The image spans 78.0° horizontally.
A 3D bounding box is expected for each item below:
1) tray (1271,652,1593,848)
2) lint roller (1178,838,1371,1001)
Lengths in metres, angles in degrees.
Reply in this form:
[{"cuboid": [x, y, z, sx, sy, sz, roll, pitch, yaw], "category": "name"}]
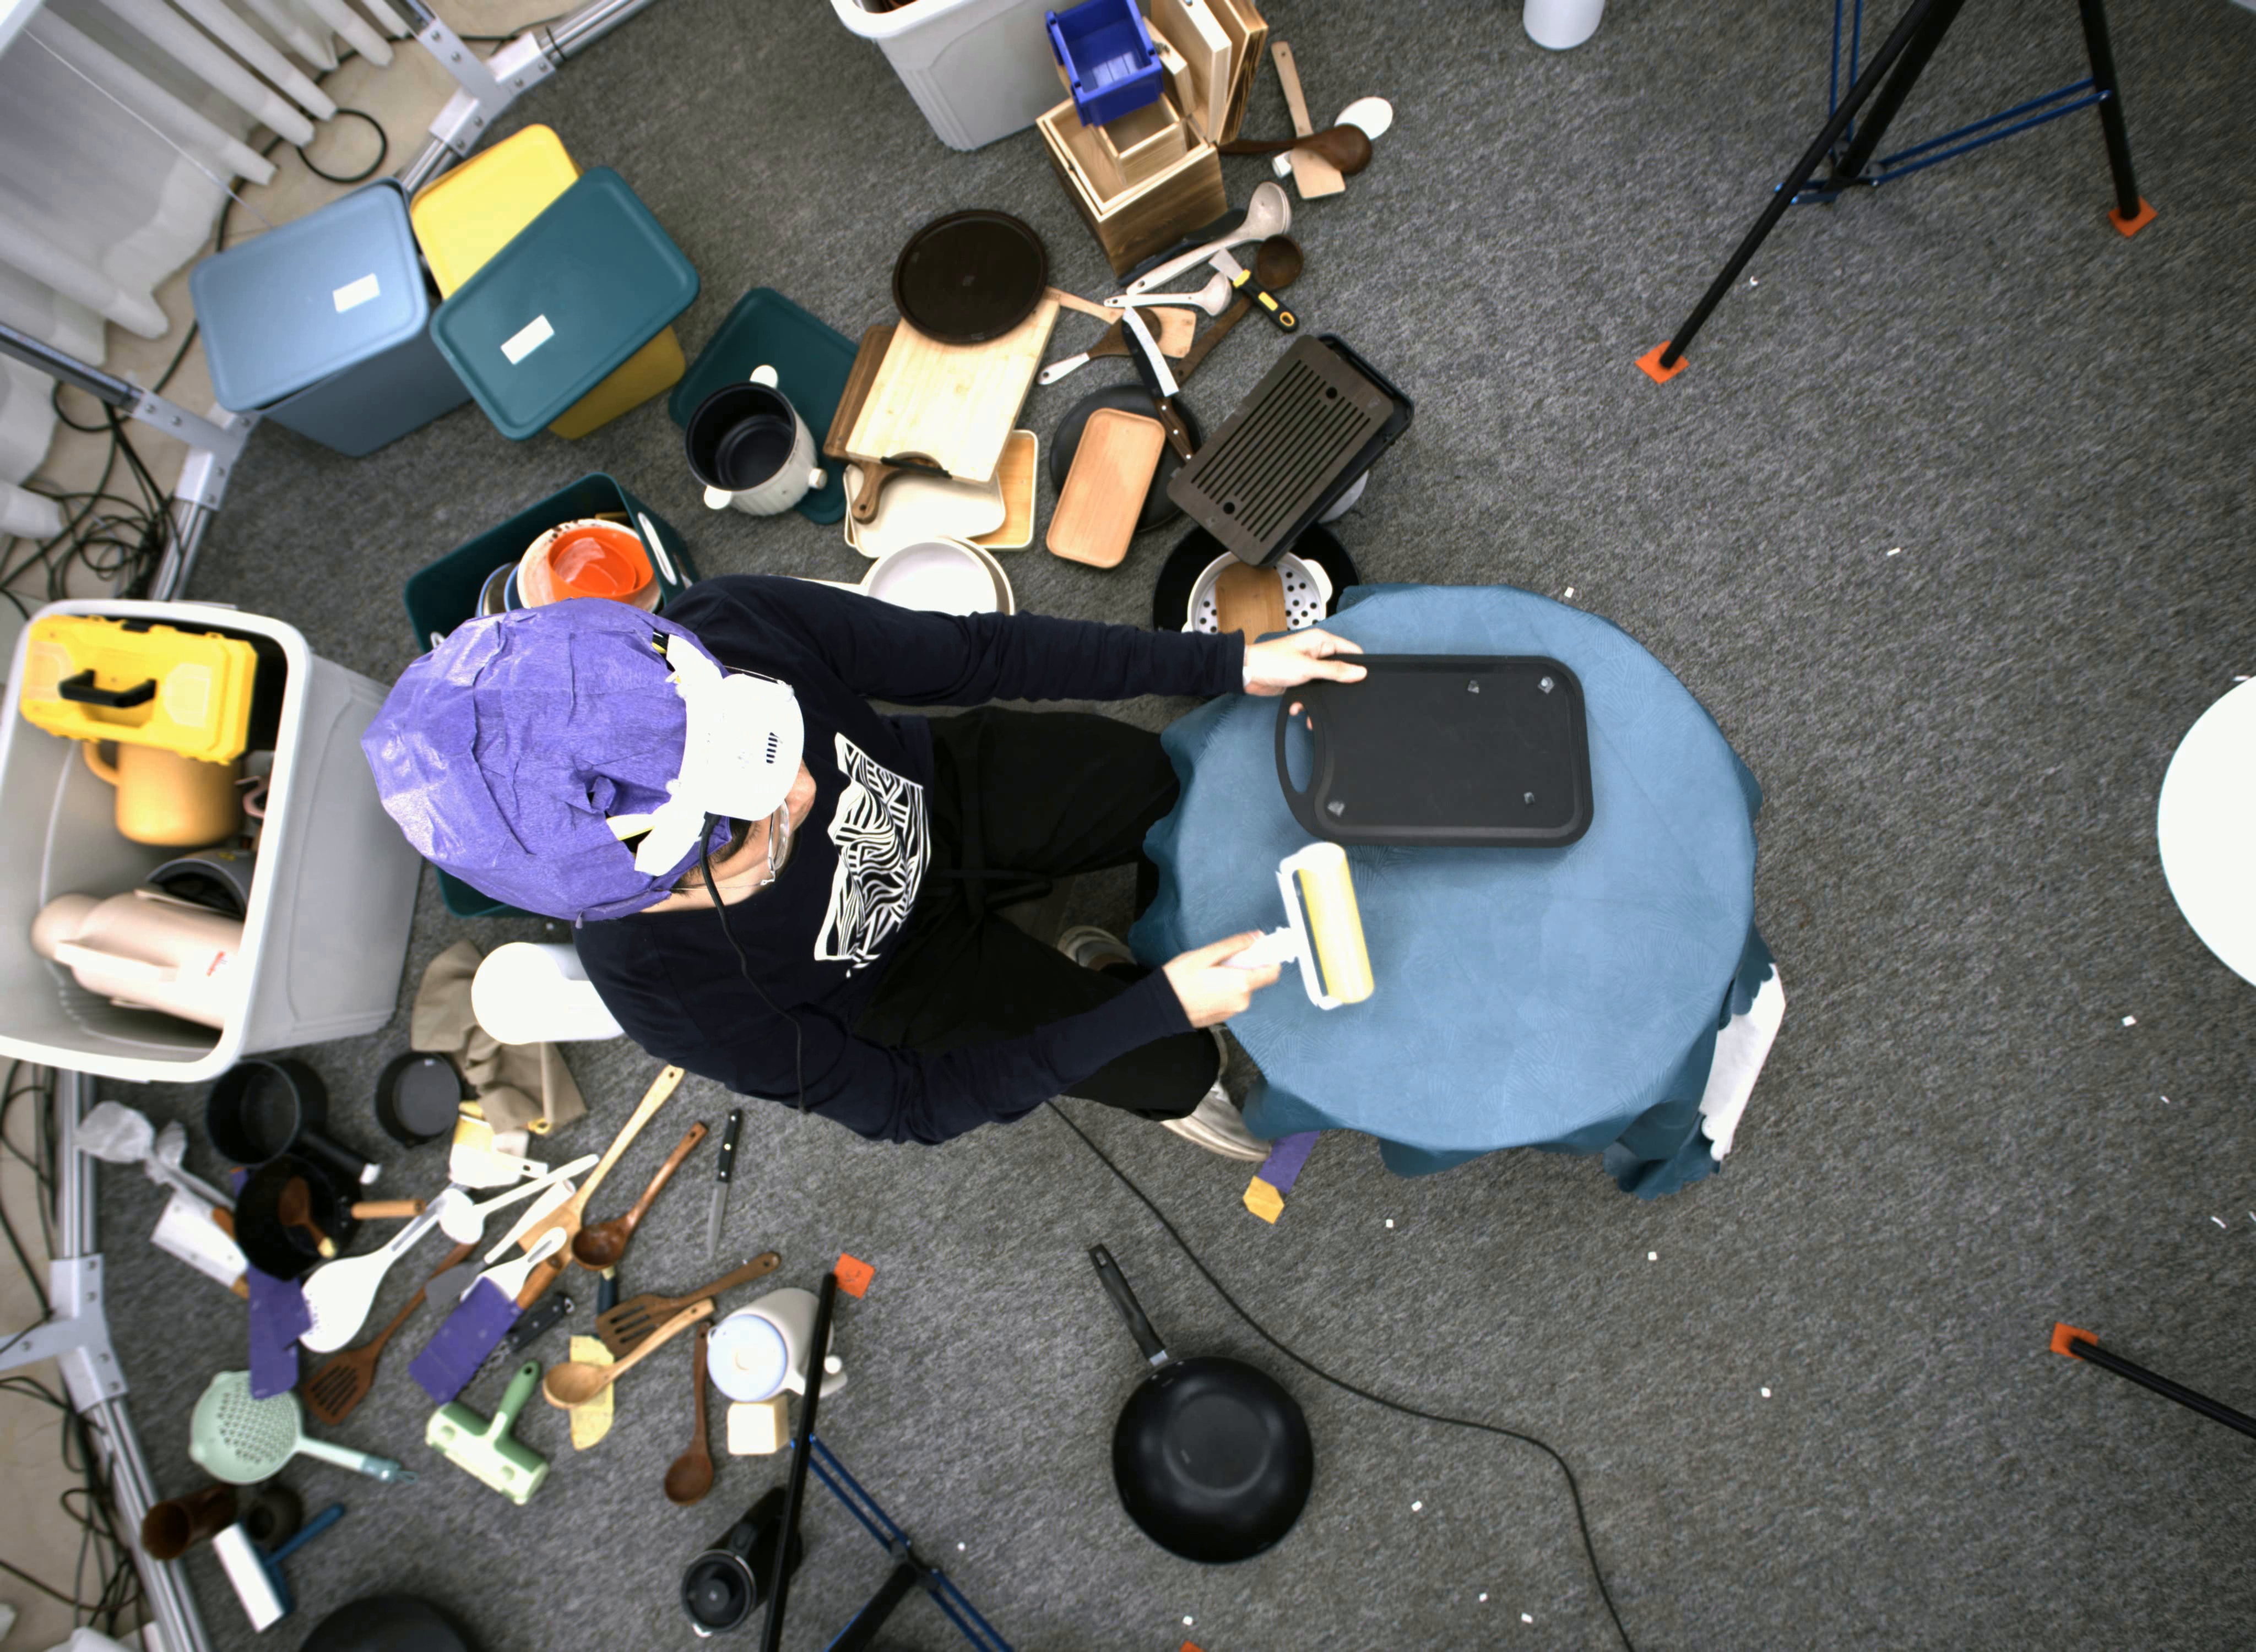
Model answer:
[{"cuboid": [0.309, -0.082, 1.403, 0.326, 0.010, 0.208, 1, 73, 1], "category": "tray"}, {"cuboid": [0.141, 0.123, 1.367, 0.190, 0.051, 0.177, -28, 120, -15], "category": "lint roller"}]
